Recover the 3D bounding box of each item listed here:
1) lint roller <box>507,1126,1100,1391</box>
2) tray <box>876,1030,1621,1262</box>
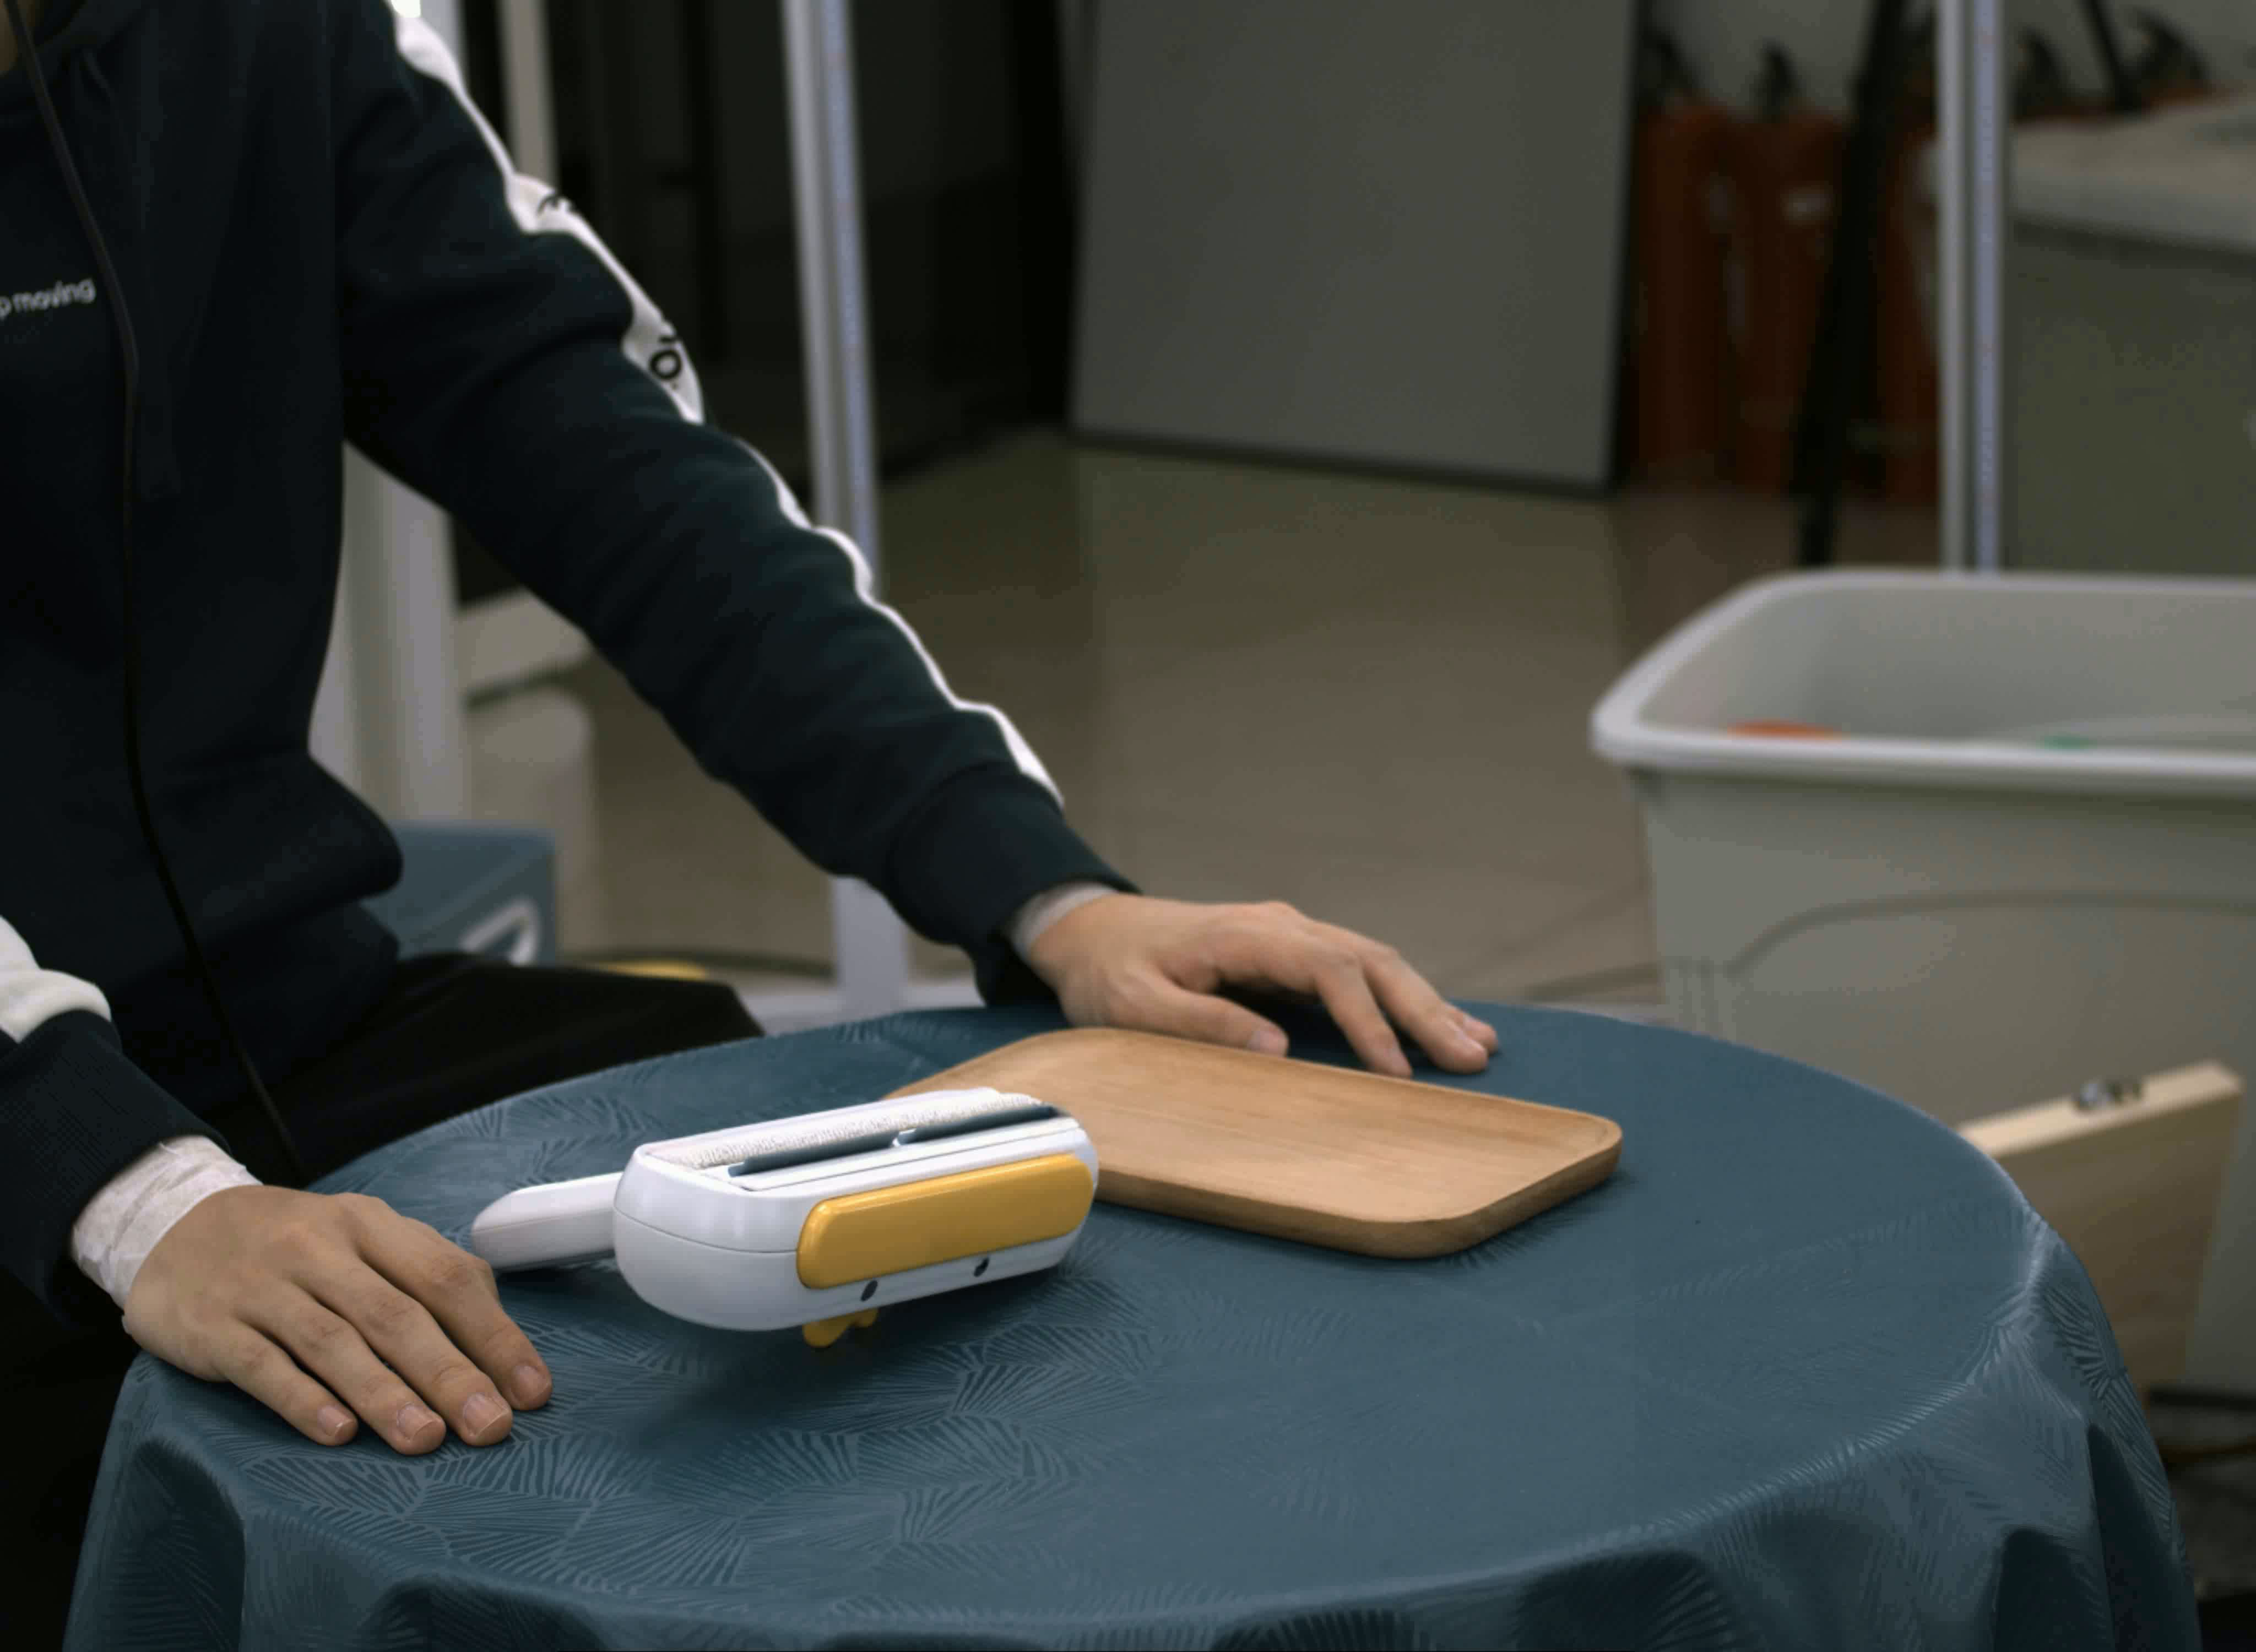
[{"bbox_3d":[-0.126,0.138,1.678,0.194,0.075,0.189,-12,-2,42],"label":"lint roller"},{"bbox_3d":[0.038,0.105,1.793,0.253,0.023,0.128,7,16,41],"label":"tray"}]
